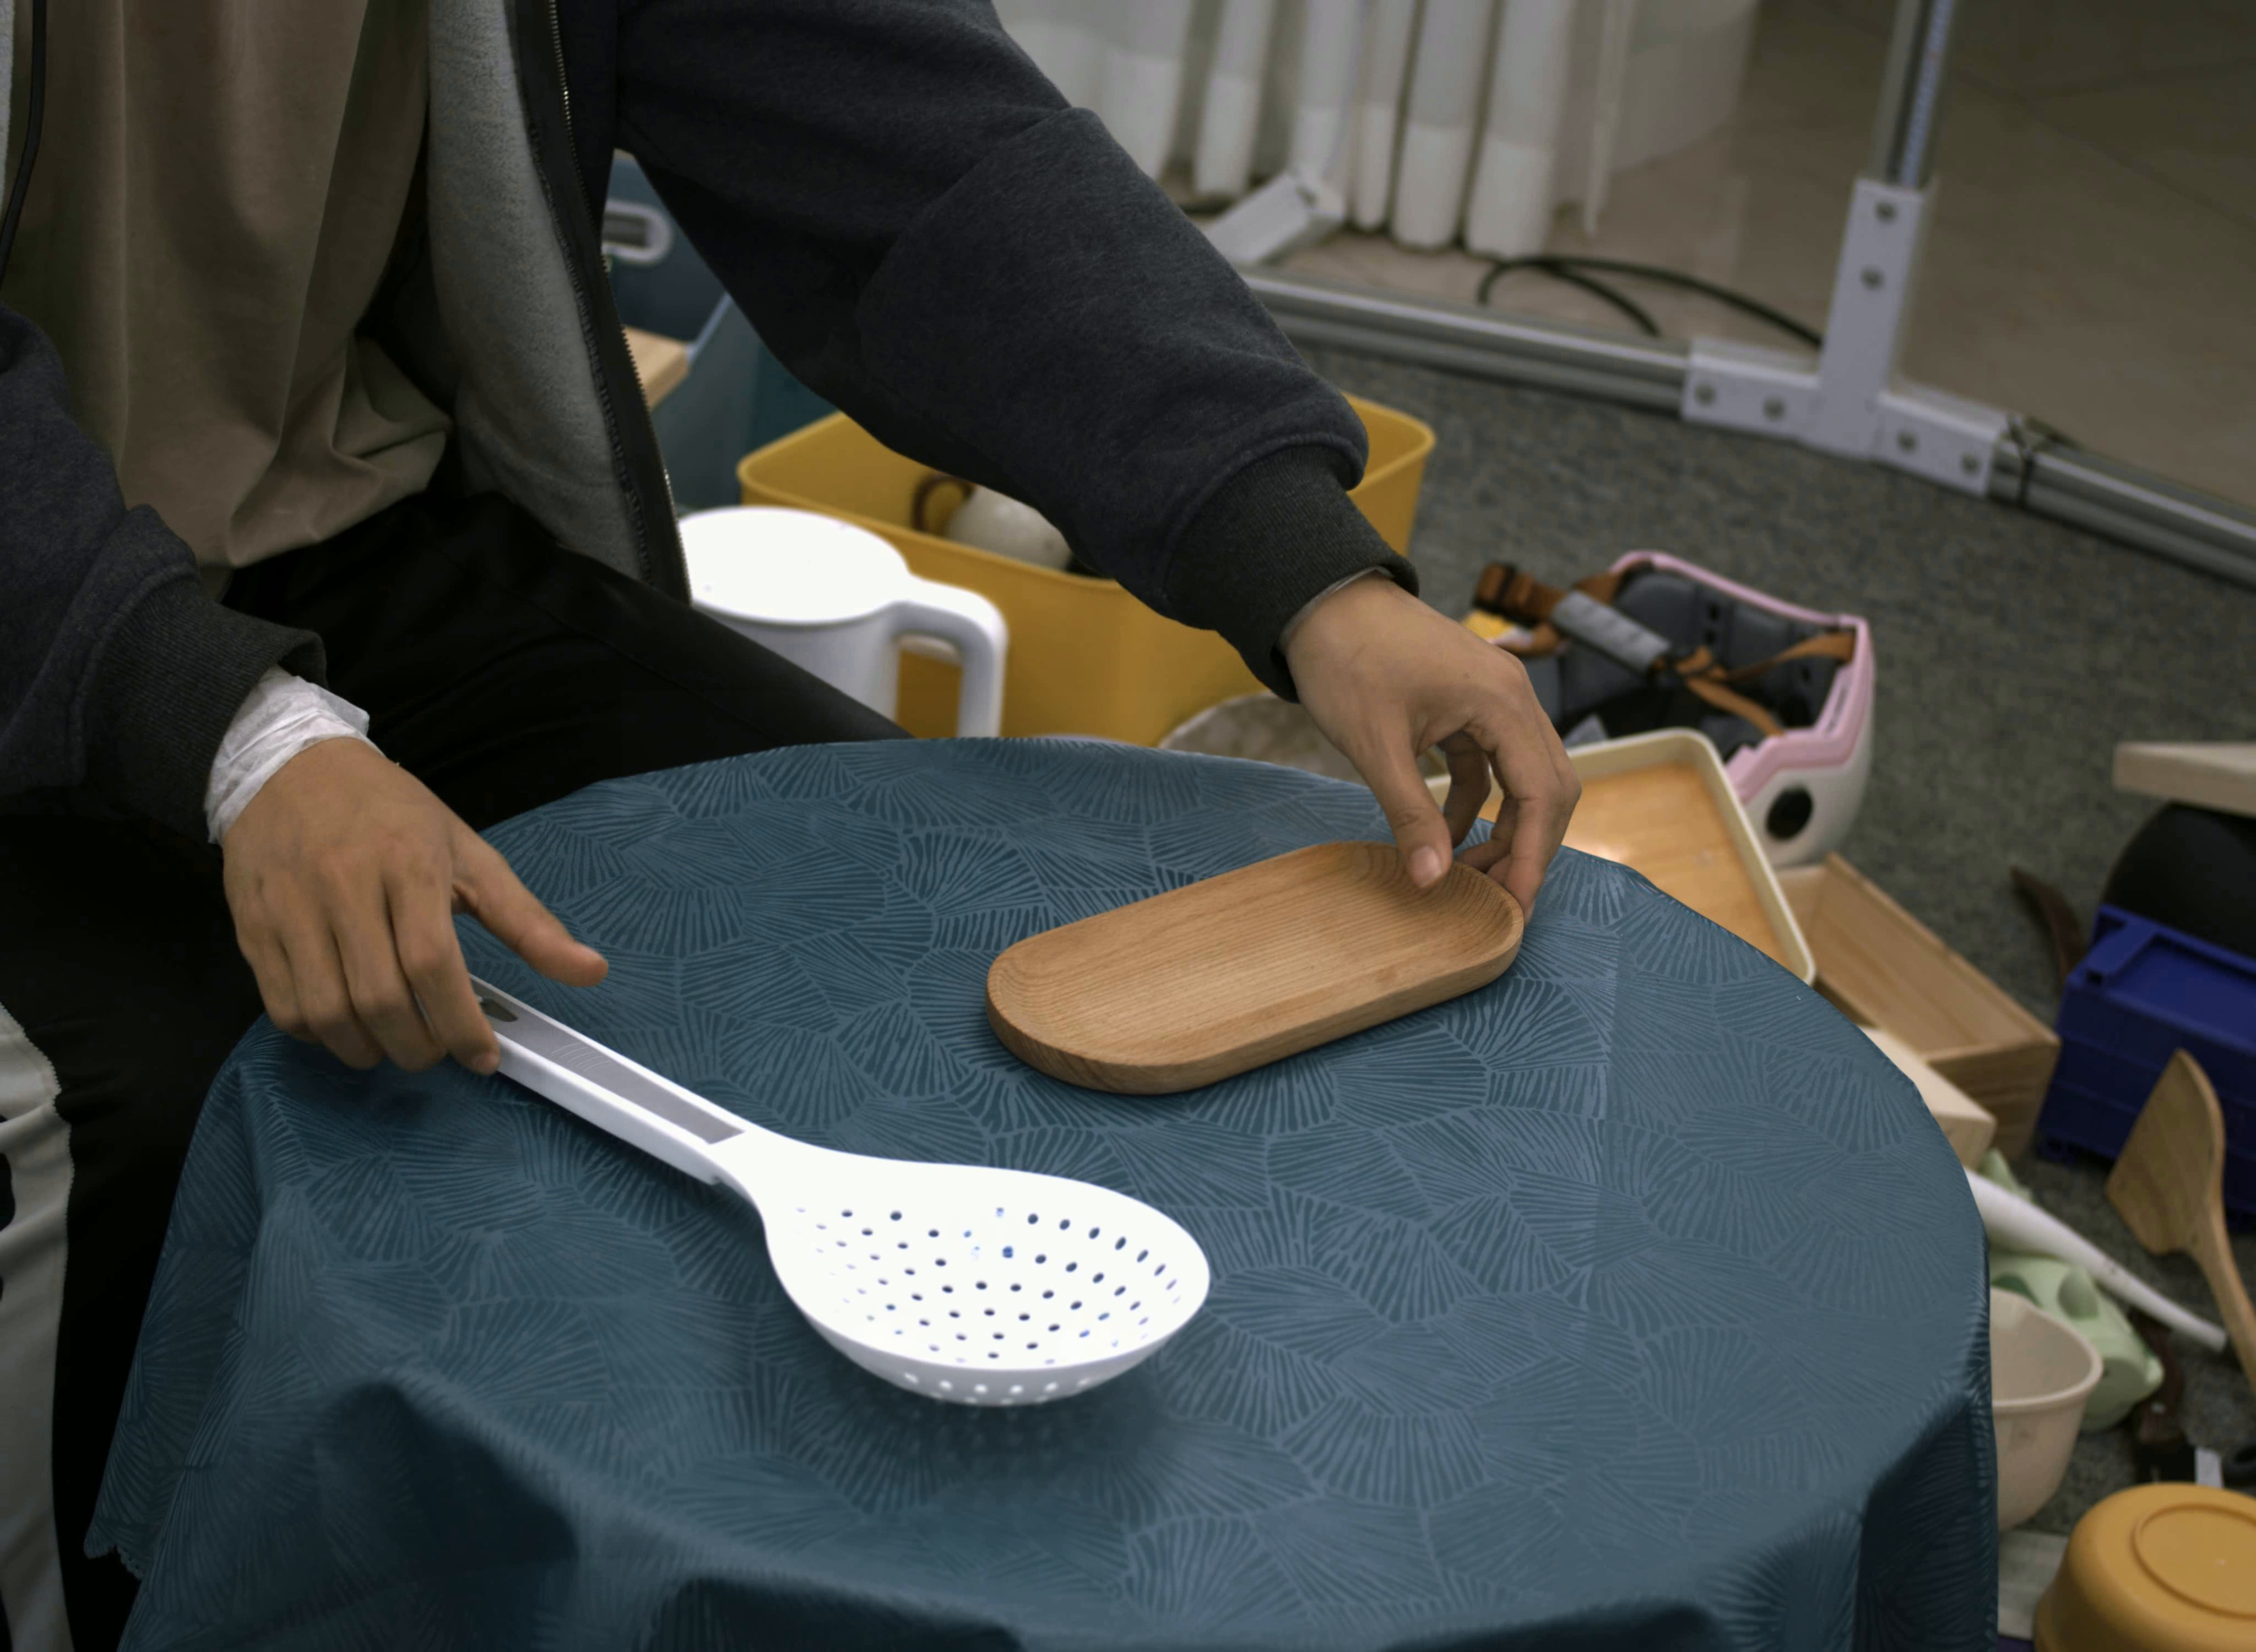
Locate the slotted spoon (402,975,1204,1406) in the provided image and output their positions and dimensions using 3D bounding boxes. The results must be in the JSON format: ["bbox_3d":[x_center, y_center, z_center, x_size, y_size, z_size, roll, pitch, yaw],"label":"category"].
[{"bbox_3d":[-0.121,0.113,1.745,0.352,0.045,0.135,28,32,37],"label":"slotted spoon"}]

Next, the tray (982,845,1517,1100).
[{"bbox_3d":[0.046,0.053,1.933,0.230,0.020,0.102,-19,35,-39],"label":"tray"}]
